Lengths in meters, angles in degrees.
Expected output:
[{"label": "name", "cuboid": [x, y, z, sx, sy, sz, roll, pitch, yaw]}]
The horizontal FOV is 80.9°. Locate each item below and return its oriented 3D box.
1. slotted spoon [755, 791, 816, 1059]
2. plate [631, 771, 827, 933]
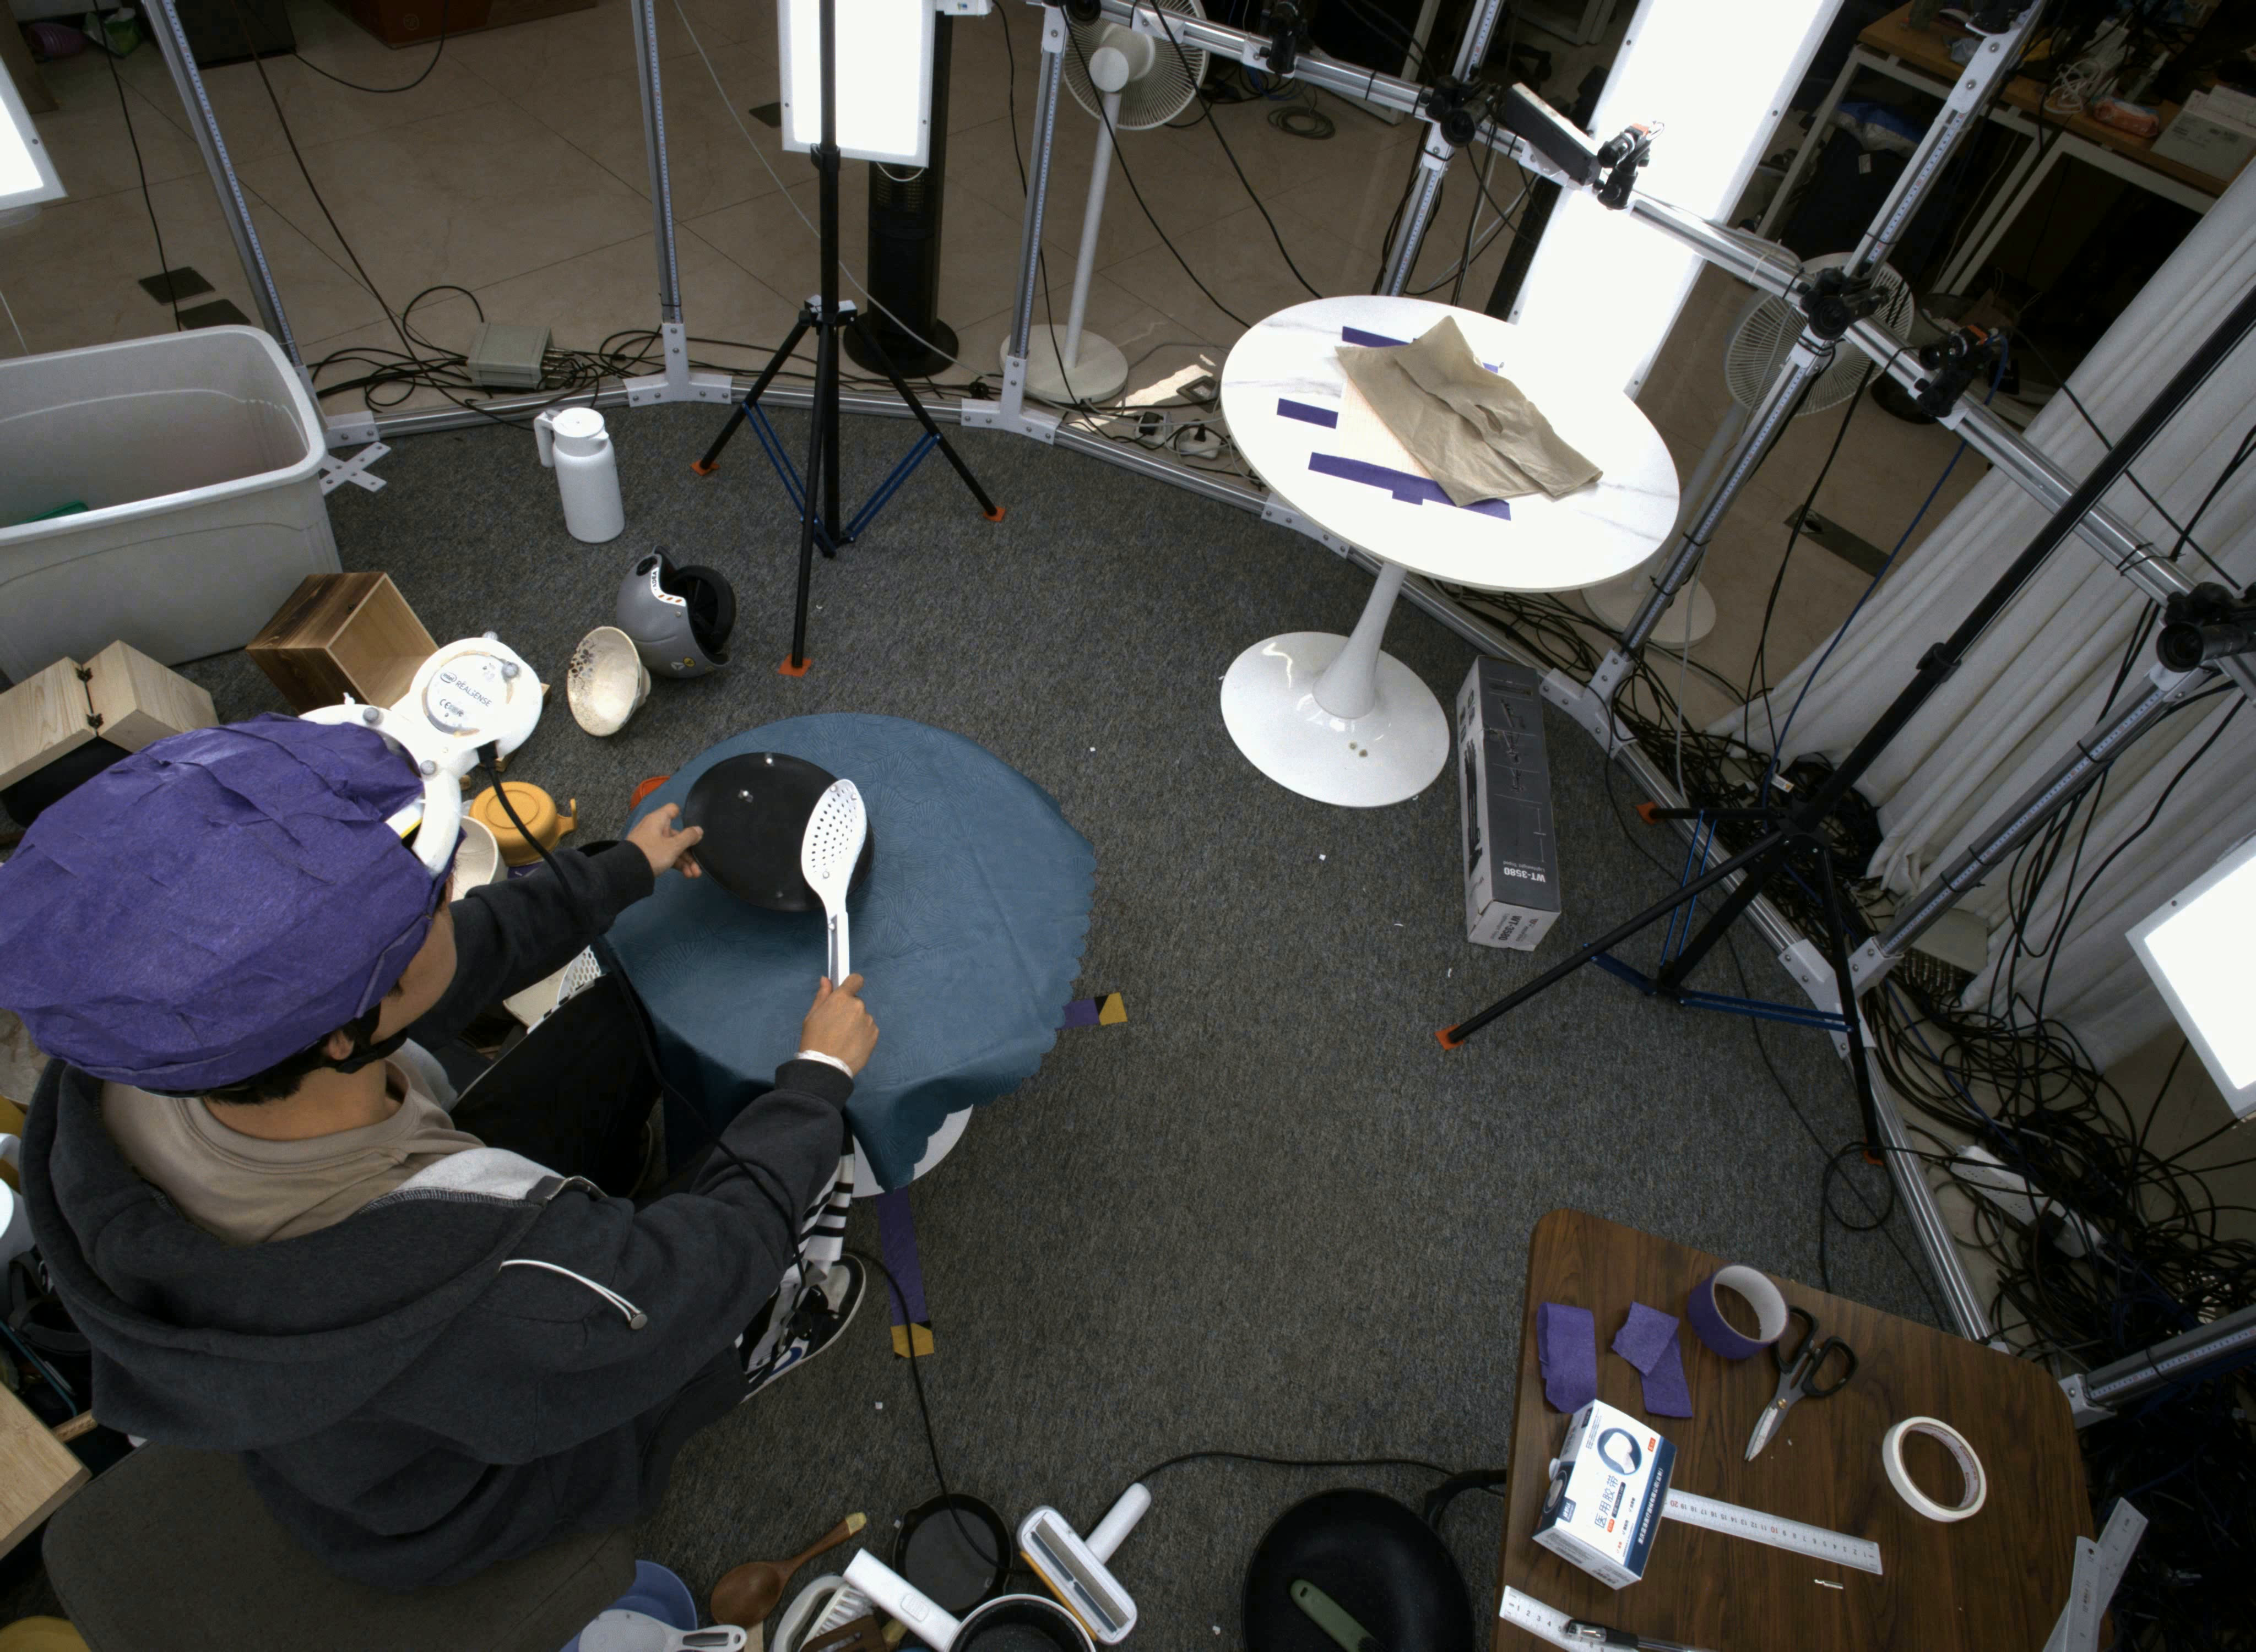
[{"label": "slotted spoon", "cuboid": [-0.394, 0.110, 1.516, 0.047, 0.135, 0.341, 20, 43, -34]}, {"label": "plate", "cuboid": [-0.496, 0.032, 1.607, 0.248, 0.023, 0.240, 20, 46, -20]}]
